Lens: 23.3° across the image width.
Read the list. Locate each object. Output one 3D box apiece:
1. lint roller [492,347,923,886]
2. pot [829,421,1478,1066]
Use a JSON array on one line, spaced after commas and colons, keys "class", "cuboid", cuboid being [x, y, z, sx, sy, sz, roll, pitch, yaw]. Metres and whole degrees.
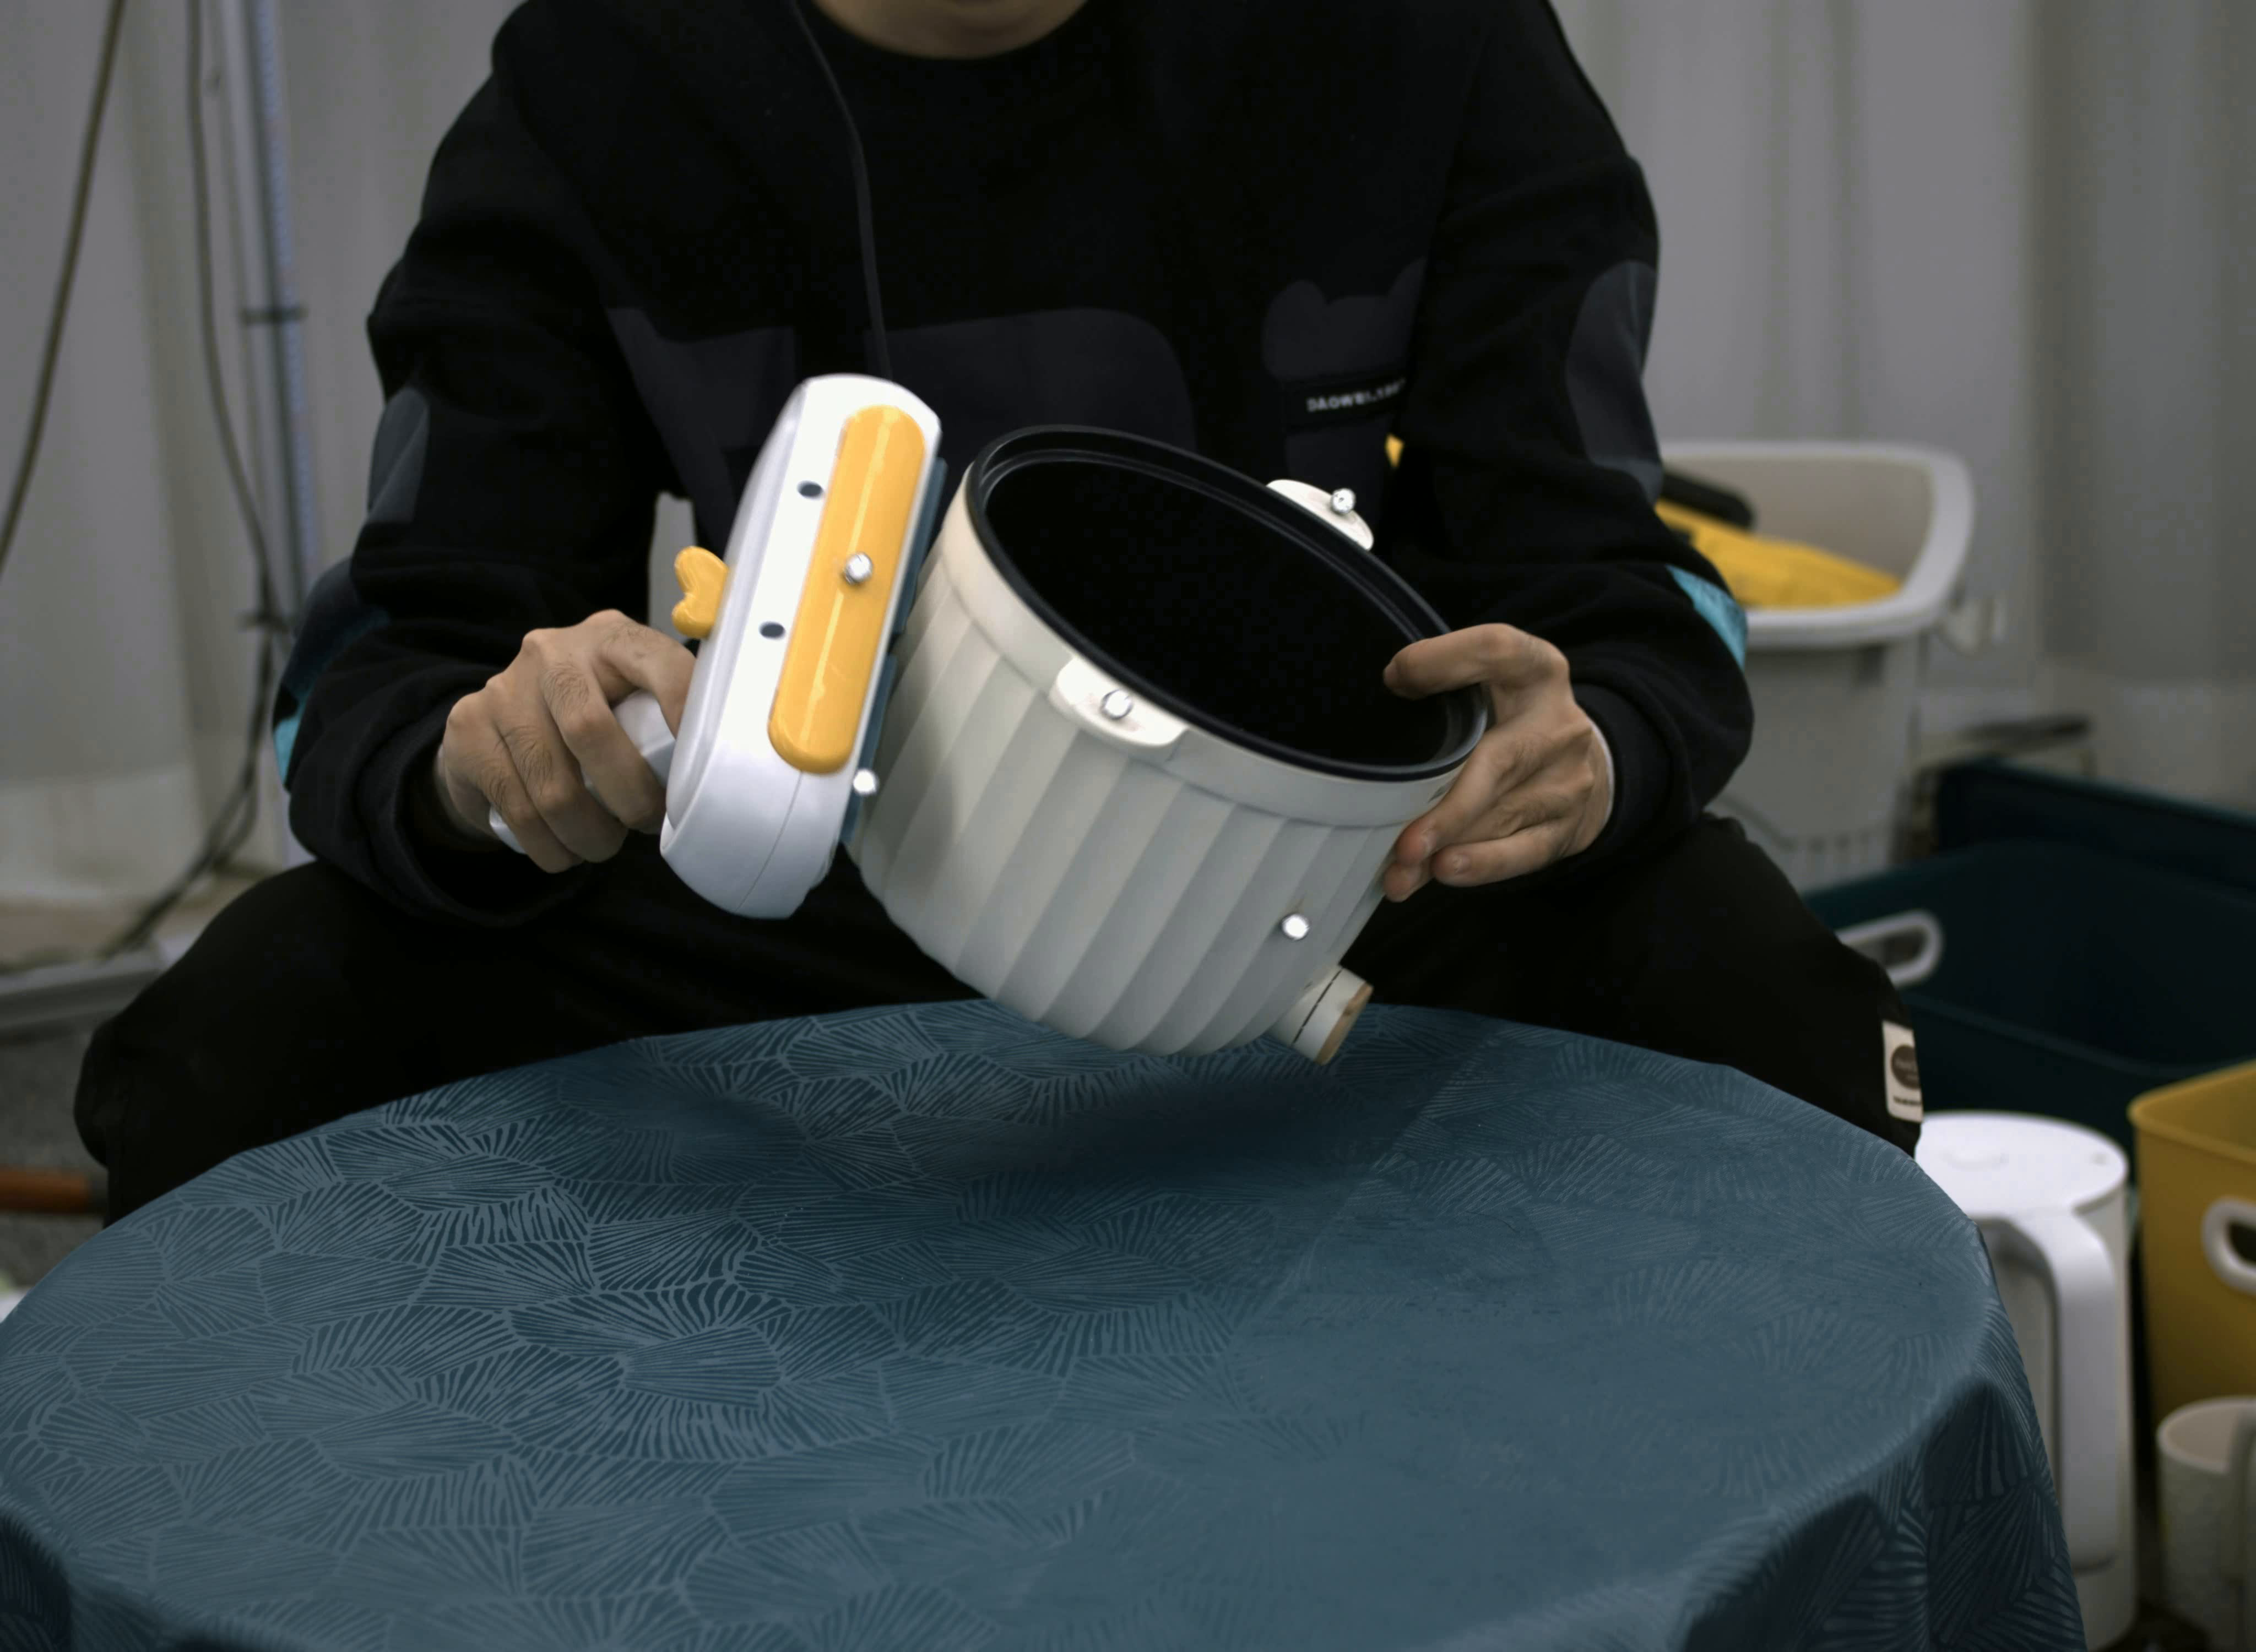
[{"class": "lint roller", "cuboid": [-0.137, -0.039, 1.743, 0.073, 0.191, 0.196, 22, 48, -21]}, {"class": "pot", "cuboid": [0.006, -0.017, 1.739, 0.191, 0.141, 0.242, 30, 27, 8]}]
